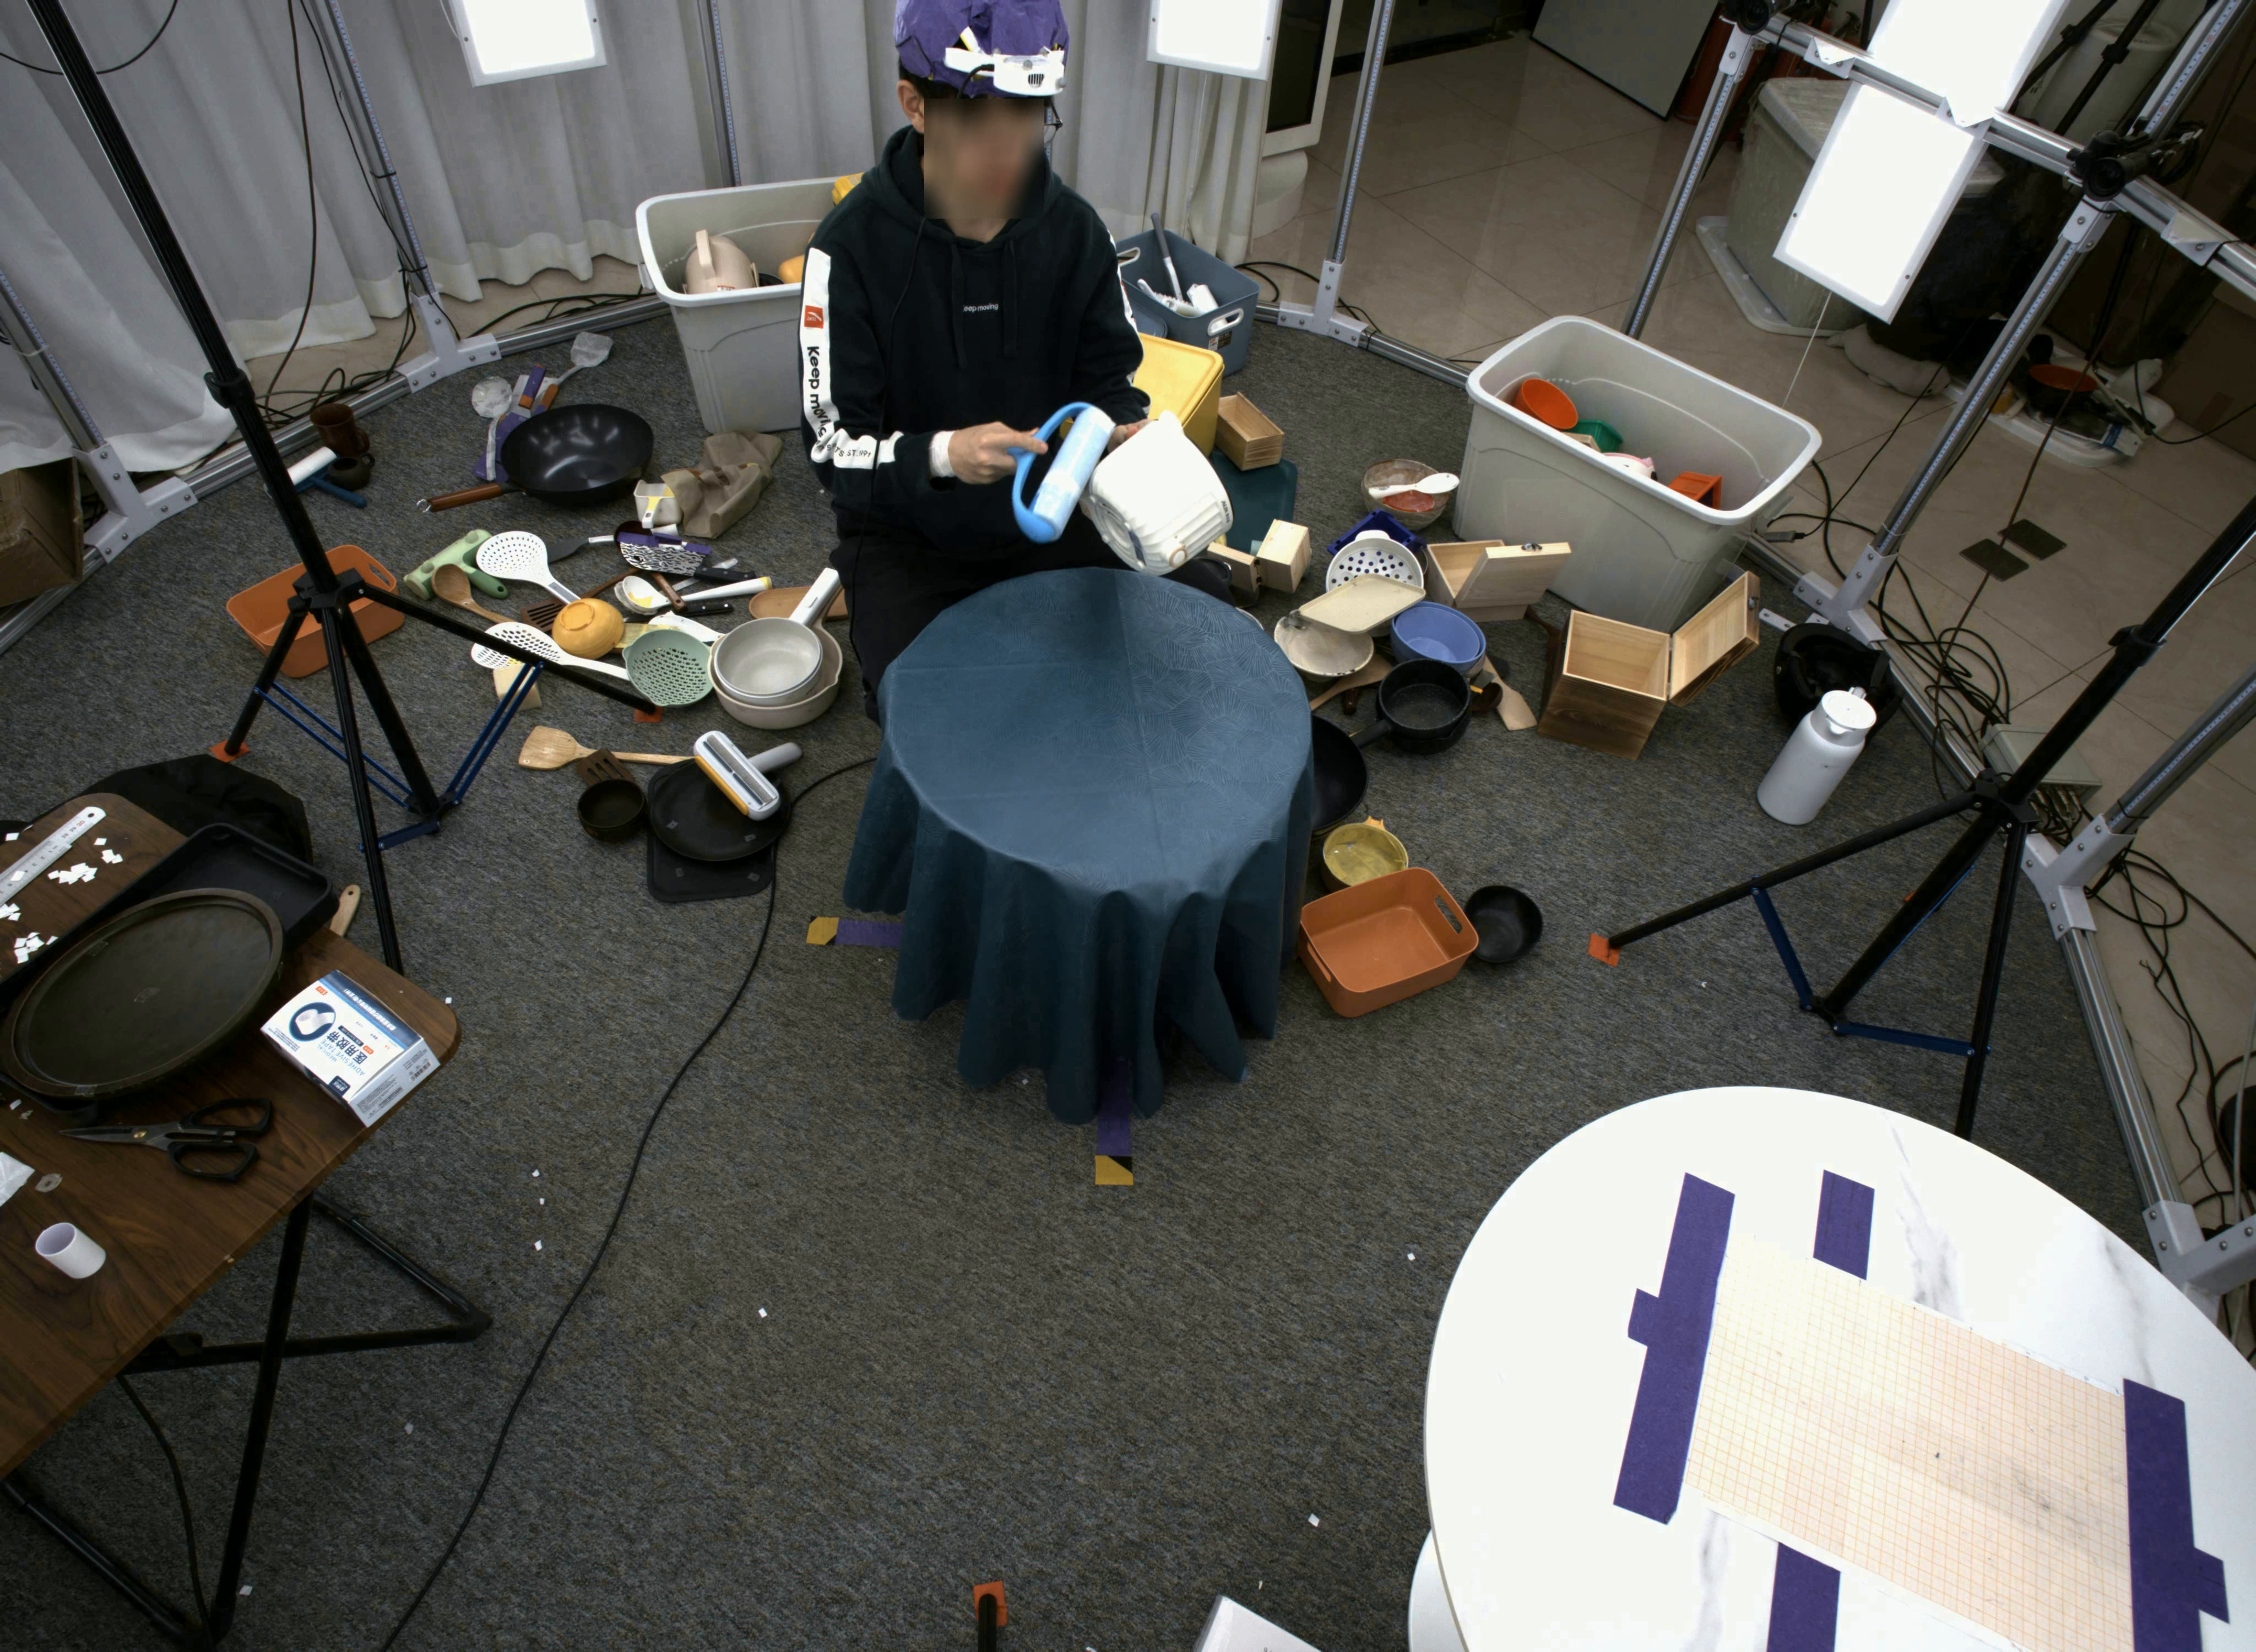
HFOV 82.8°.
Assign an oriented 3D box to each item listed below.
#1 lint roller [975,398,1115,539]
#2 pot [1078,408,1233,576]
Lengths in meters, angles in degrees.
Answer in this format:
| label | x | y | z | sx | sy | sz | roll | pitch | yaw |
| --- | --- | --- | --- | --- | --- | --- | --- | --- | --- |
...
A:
| label | x | y | z | sx | sy | sz | roll | pitch | yaw |
| --- | --- | --- | --- | --- | --- | --- | --- | --- | --- |
| lint roller | -0.130 | -0.483 | 1.730 | 0.181 | 0.066 | 0.233 | 10 | 62 | 17 |
| pot | 0.037 | -0.434 | 1.751 | 0.143 | 0.235 | 0.194 | -43 | 59 | -11 |
